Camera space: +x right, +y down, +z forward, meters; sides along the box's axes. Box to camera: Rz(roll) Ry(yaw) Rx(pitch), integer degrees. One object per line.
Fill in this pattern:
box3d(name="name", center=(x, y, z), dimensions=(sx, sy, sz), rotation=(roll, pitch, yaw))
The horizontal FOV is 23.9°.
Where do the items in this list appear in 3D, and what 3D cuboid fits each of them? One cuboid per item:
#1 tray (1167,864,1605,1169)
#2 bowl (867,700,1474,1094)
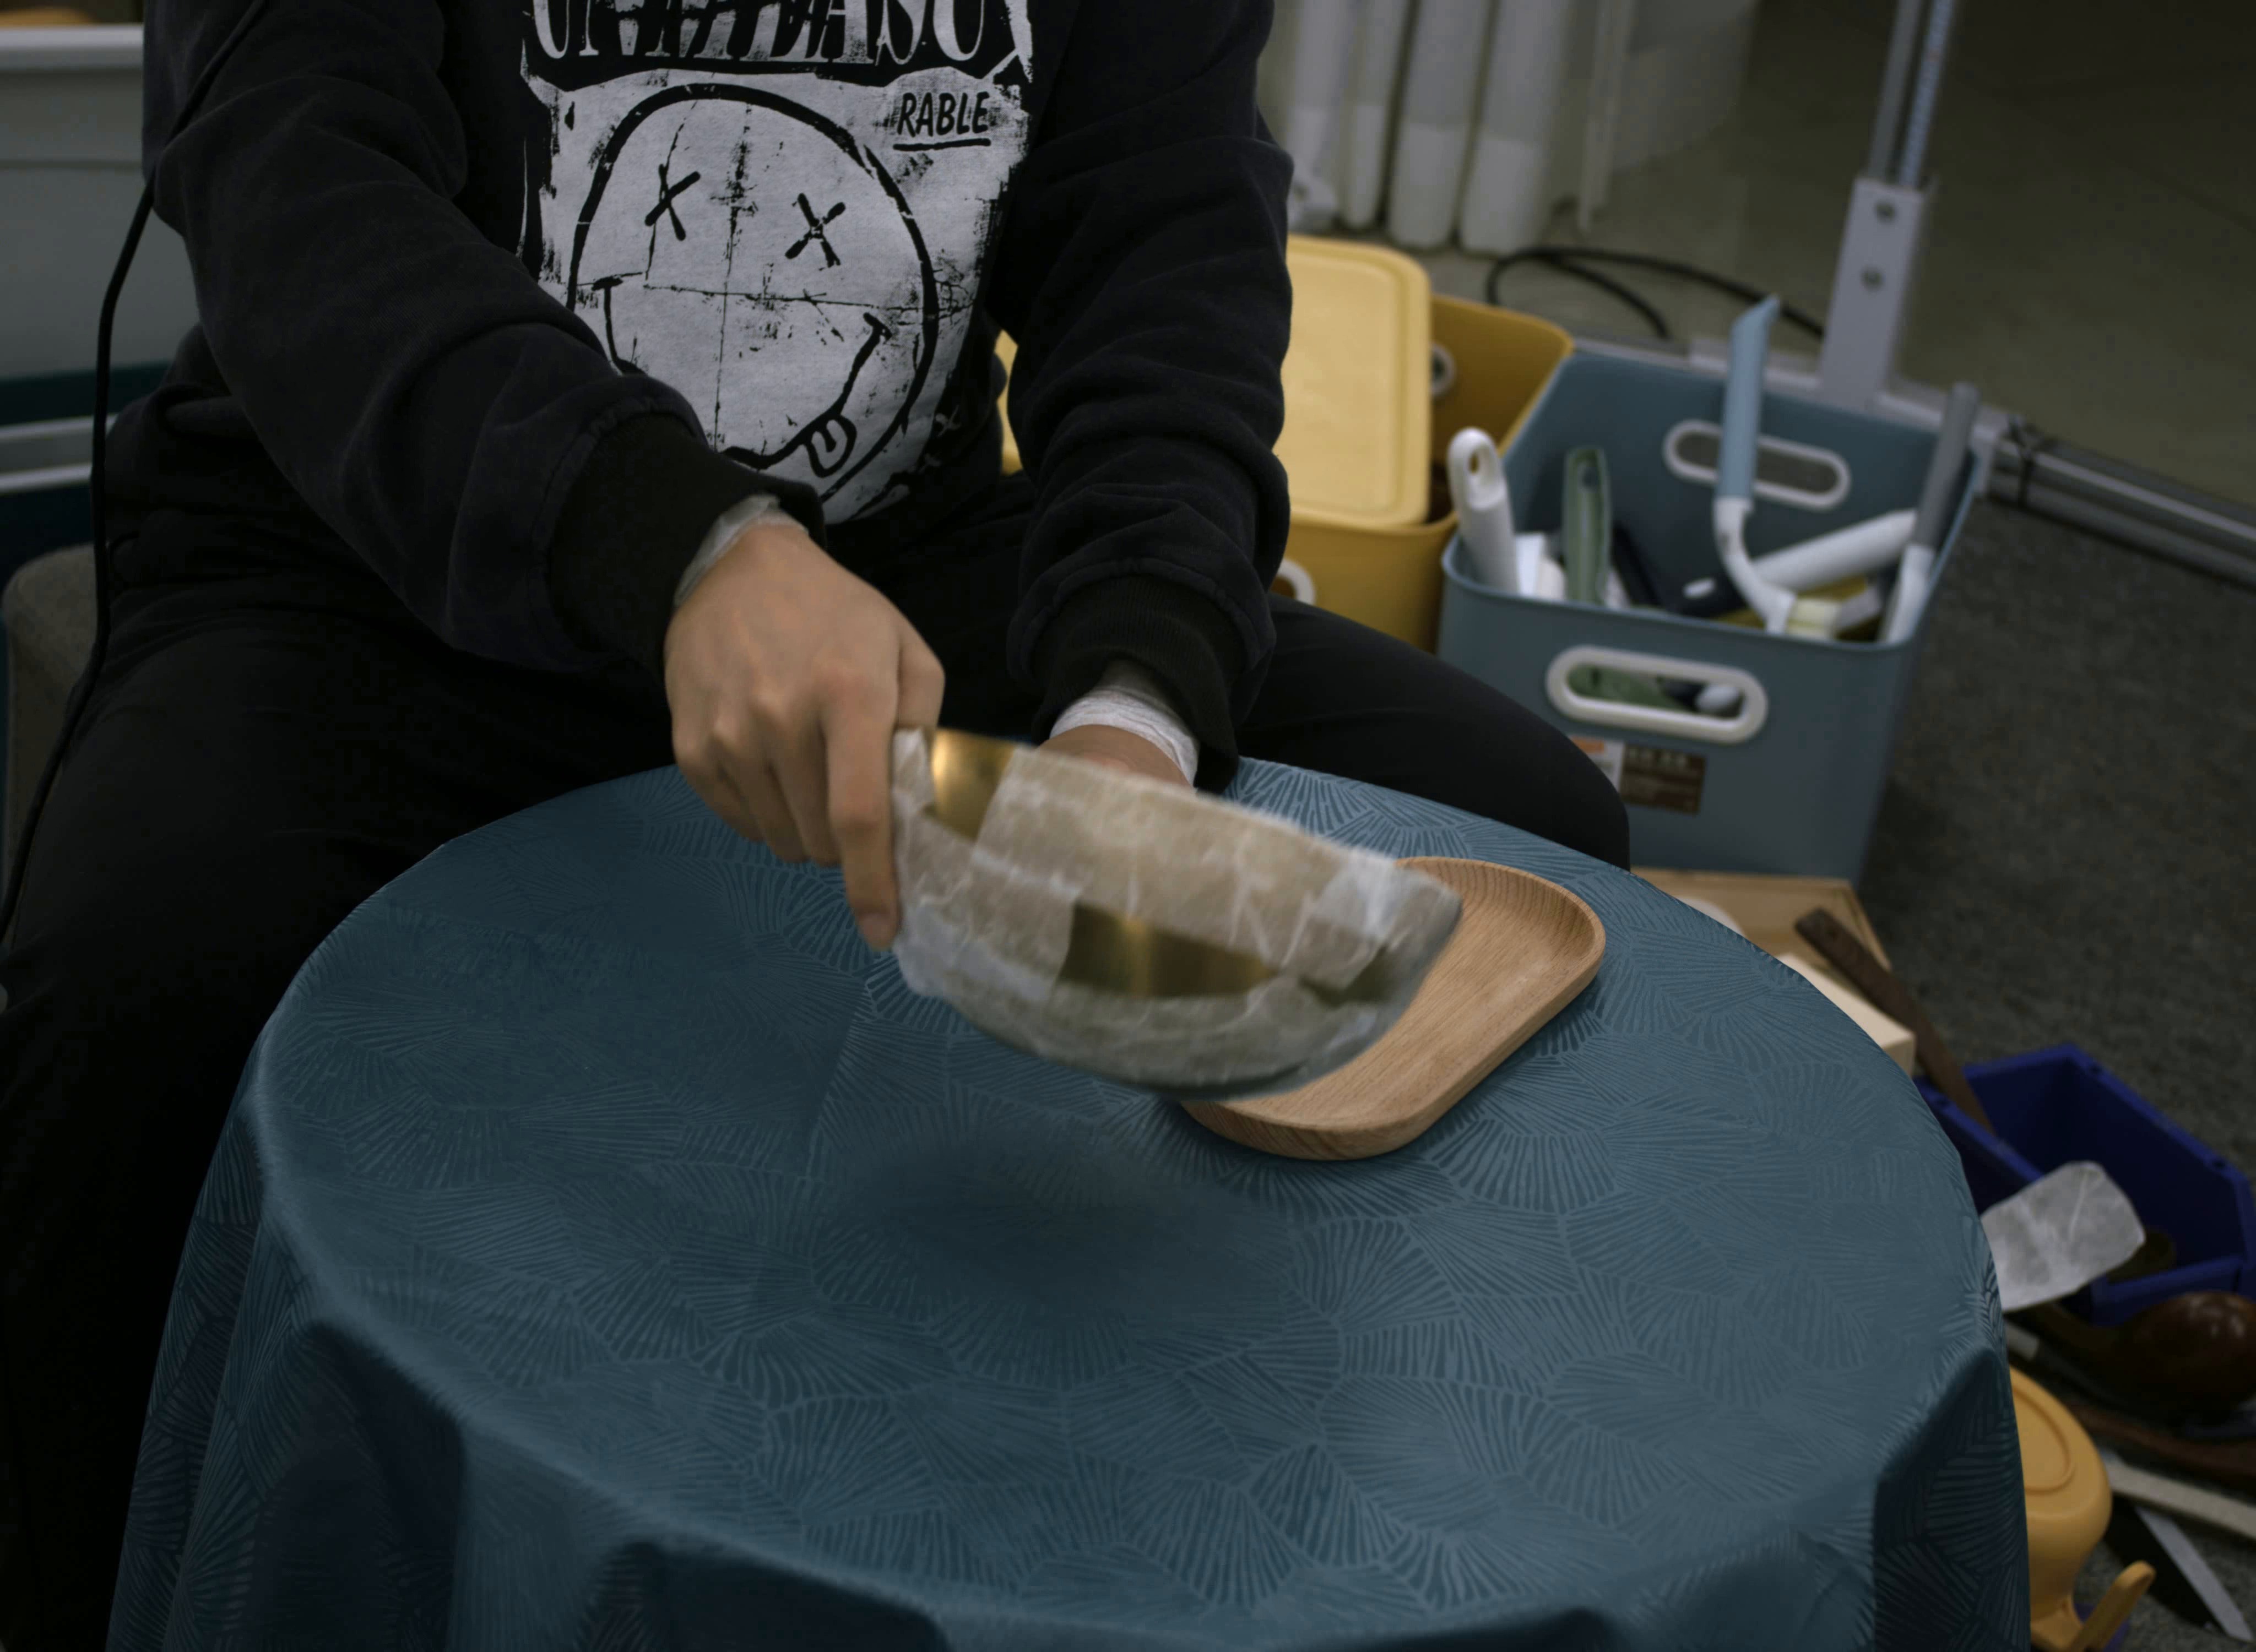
box3d(name="tray", center=(0.095, 0.067, 1.917), dimensions=(0.102, 0.020, 0.231), rotation=(17, 30, 24))
box3d(name="bowl", center=(0.003, 0.035, 1.734), dimensions=(0.214, 0.095, 0.214), rotation=(16, -5, 1))
